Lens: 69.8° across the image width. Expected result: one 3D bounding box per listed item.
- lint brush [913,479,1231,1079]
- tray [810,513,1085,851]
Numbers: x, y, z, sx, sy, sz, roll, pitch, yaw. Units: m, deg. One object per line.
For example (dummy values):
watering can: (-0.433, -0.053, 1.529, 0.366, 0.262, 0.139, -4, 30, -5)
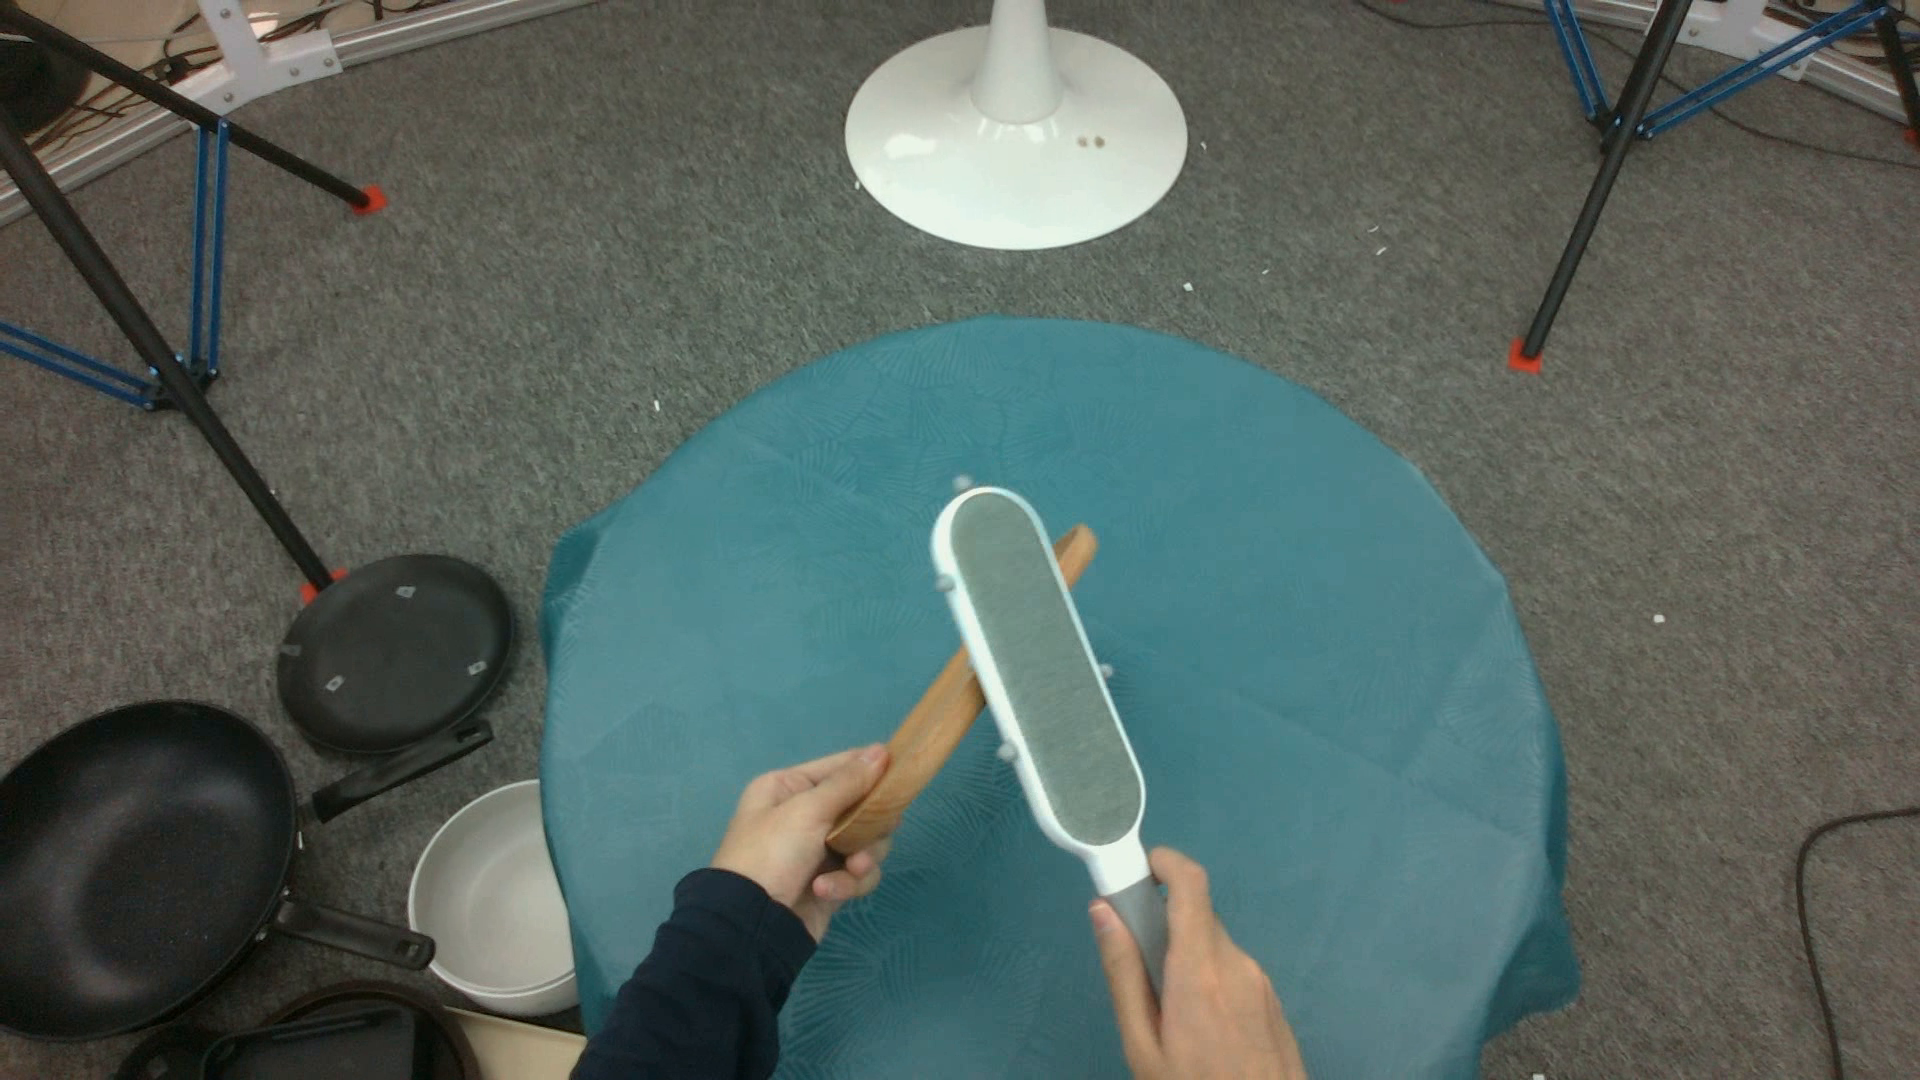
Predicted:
lint brush: (0.053, 0.113, 0.640, 0.060, 0.021, 0.309, -17, 80, -39)
tray: (-0.001, 0.068, 0.702, 0.020, 0.101, 0.232, 39, 52, -1)
